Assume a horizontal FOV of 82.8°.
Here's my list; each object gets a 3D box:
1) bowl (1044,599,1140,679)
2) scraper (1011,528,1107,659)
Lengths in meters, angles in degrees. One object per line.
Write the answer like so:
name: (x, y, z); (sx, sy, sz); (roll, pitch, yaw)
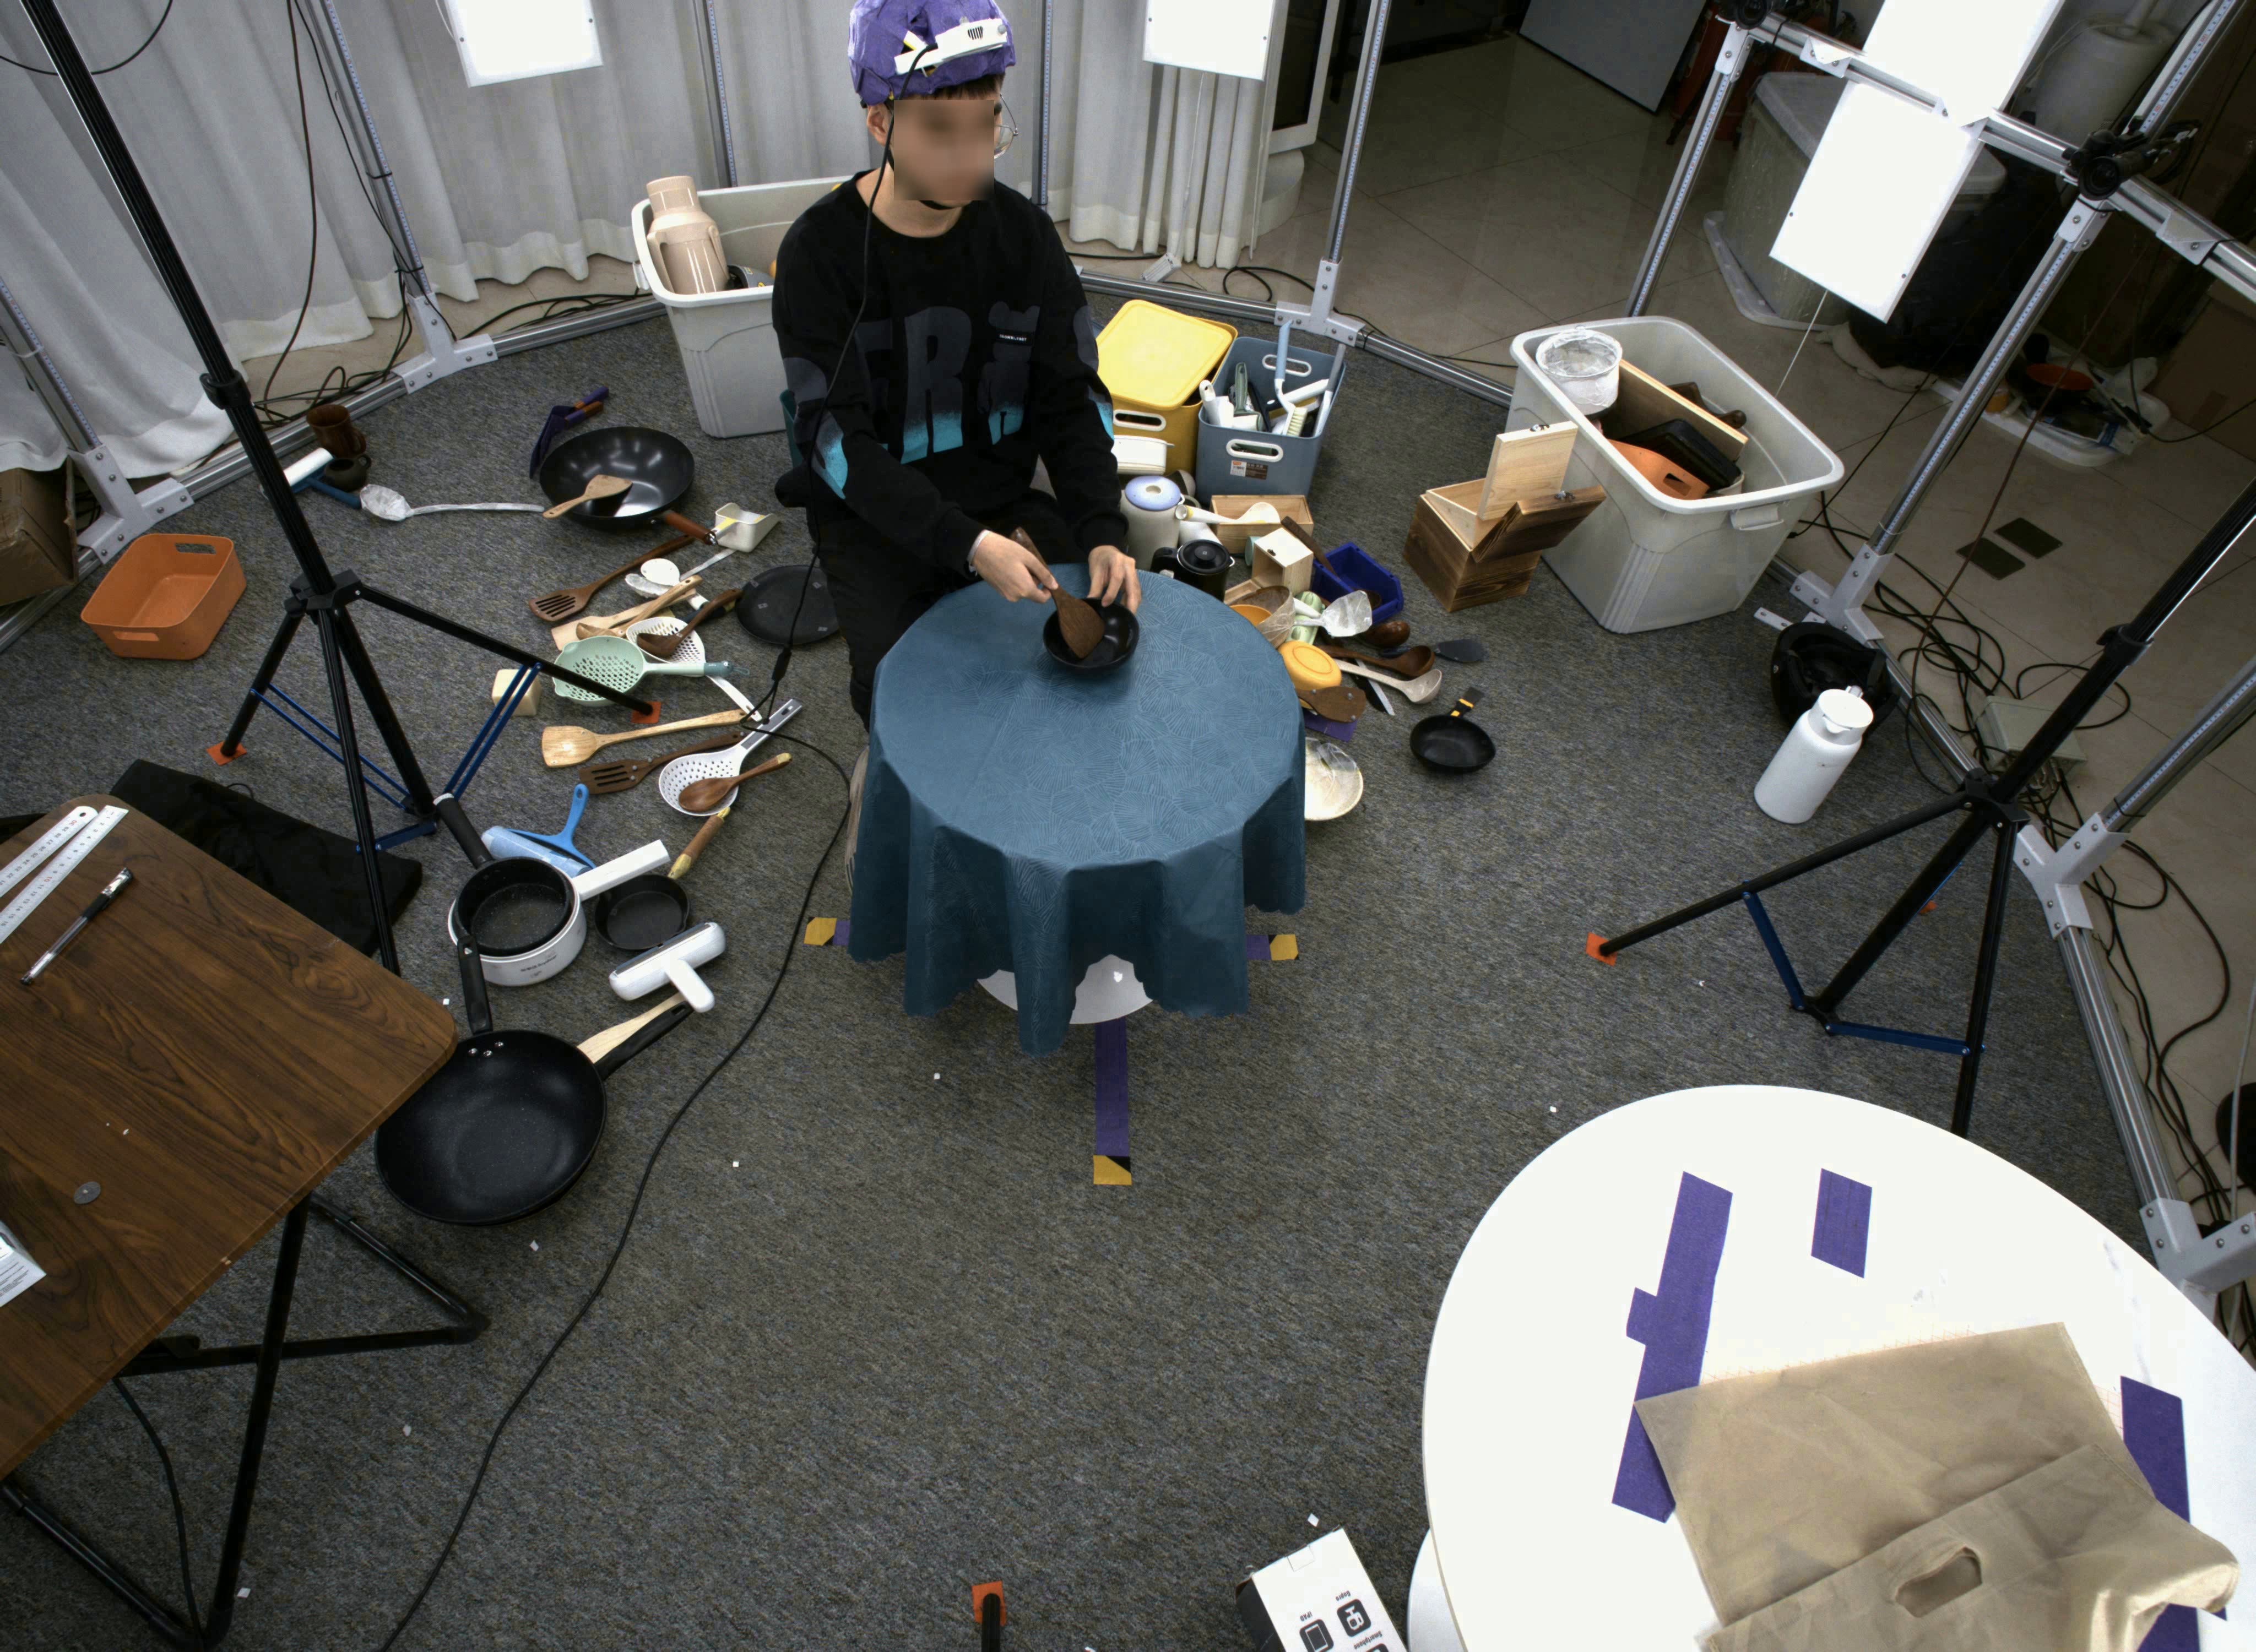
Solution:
bowl: (-0.051, -0.264, 1.871); (0.140, 0.048, 0.143); (-3, 55, 3)
scraper: (-0.103, -0.338, 1.849); (0.011, 0.207, 0.077); (1, 46, 49)
